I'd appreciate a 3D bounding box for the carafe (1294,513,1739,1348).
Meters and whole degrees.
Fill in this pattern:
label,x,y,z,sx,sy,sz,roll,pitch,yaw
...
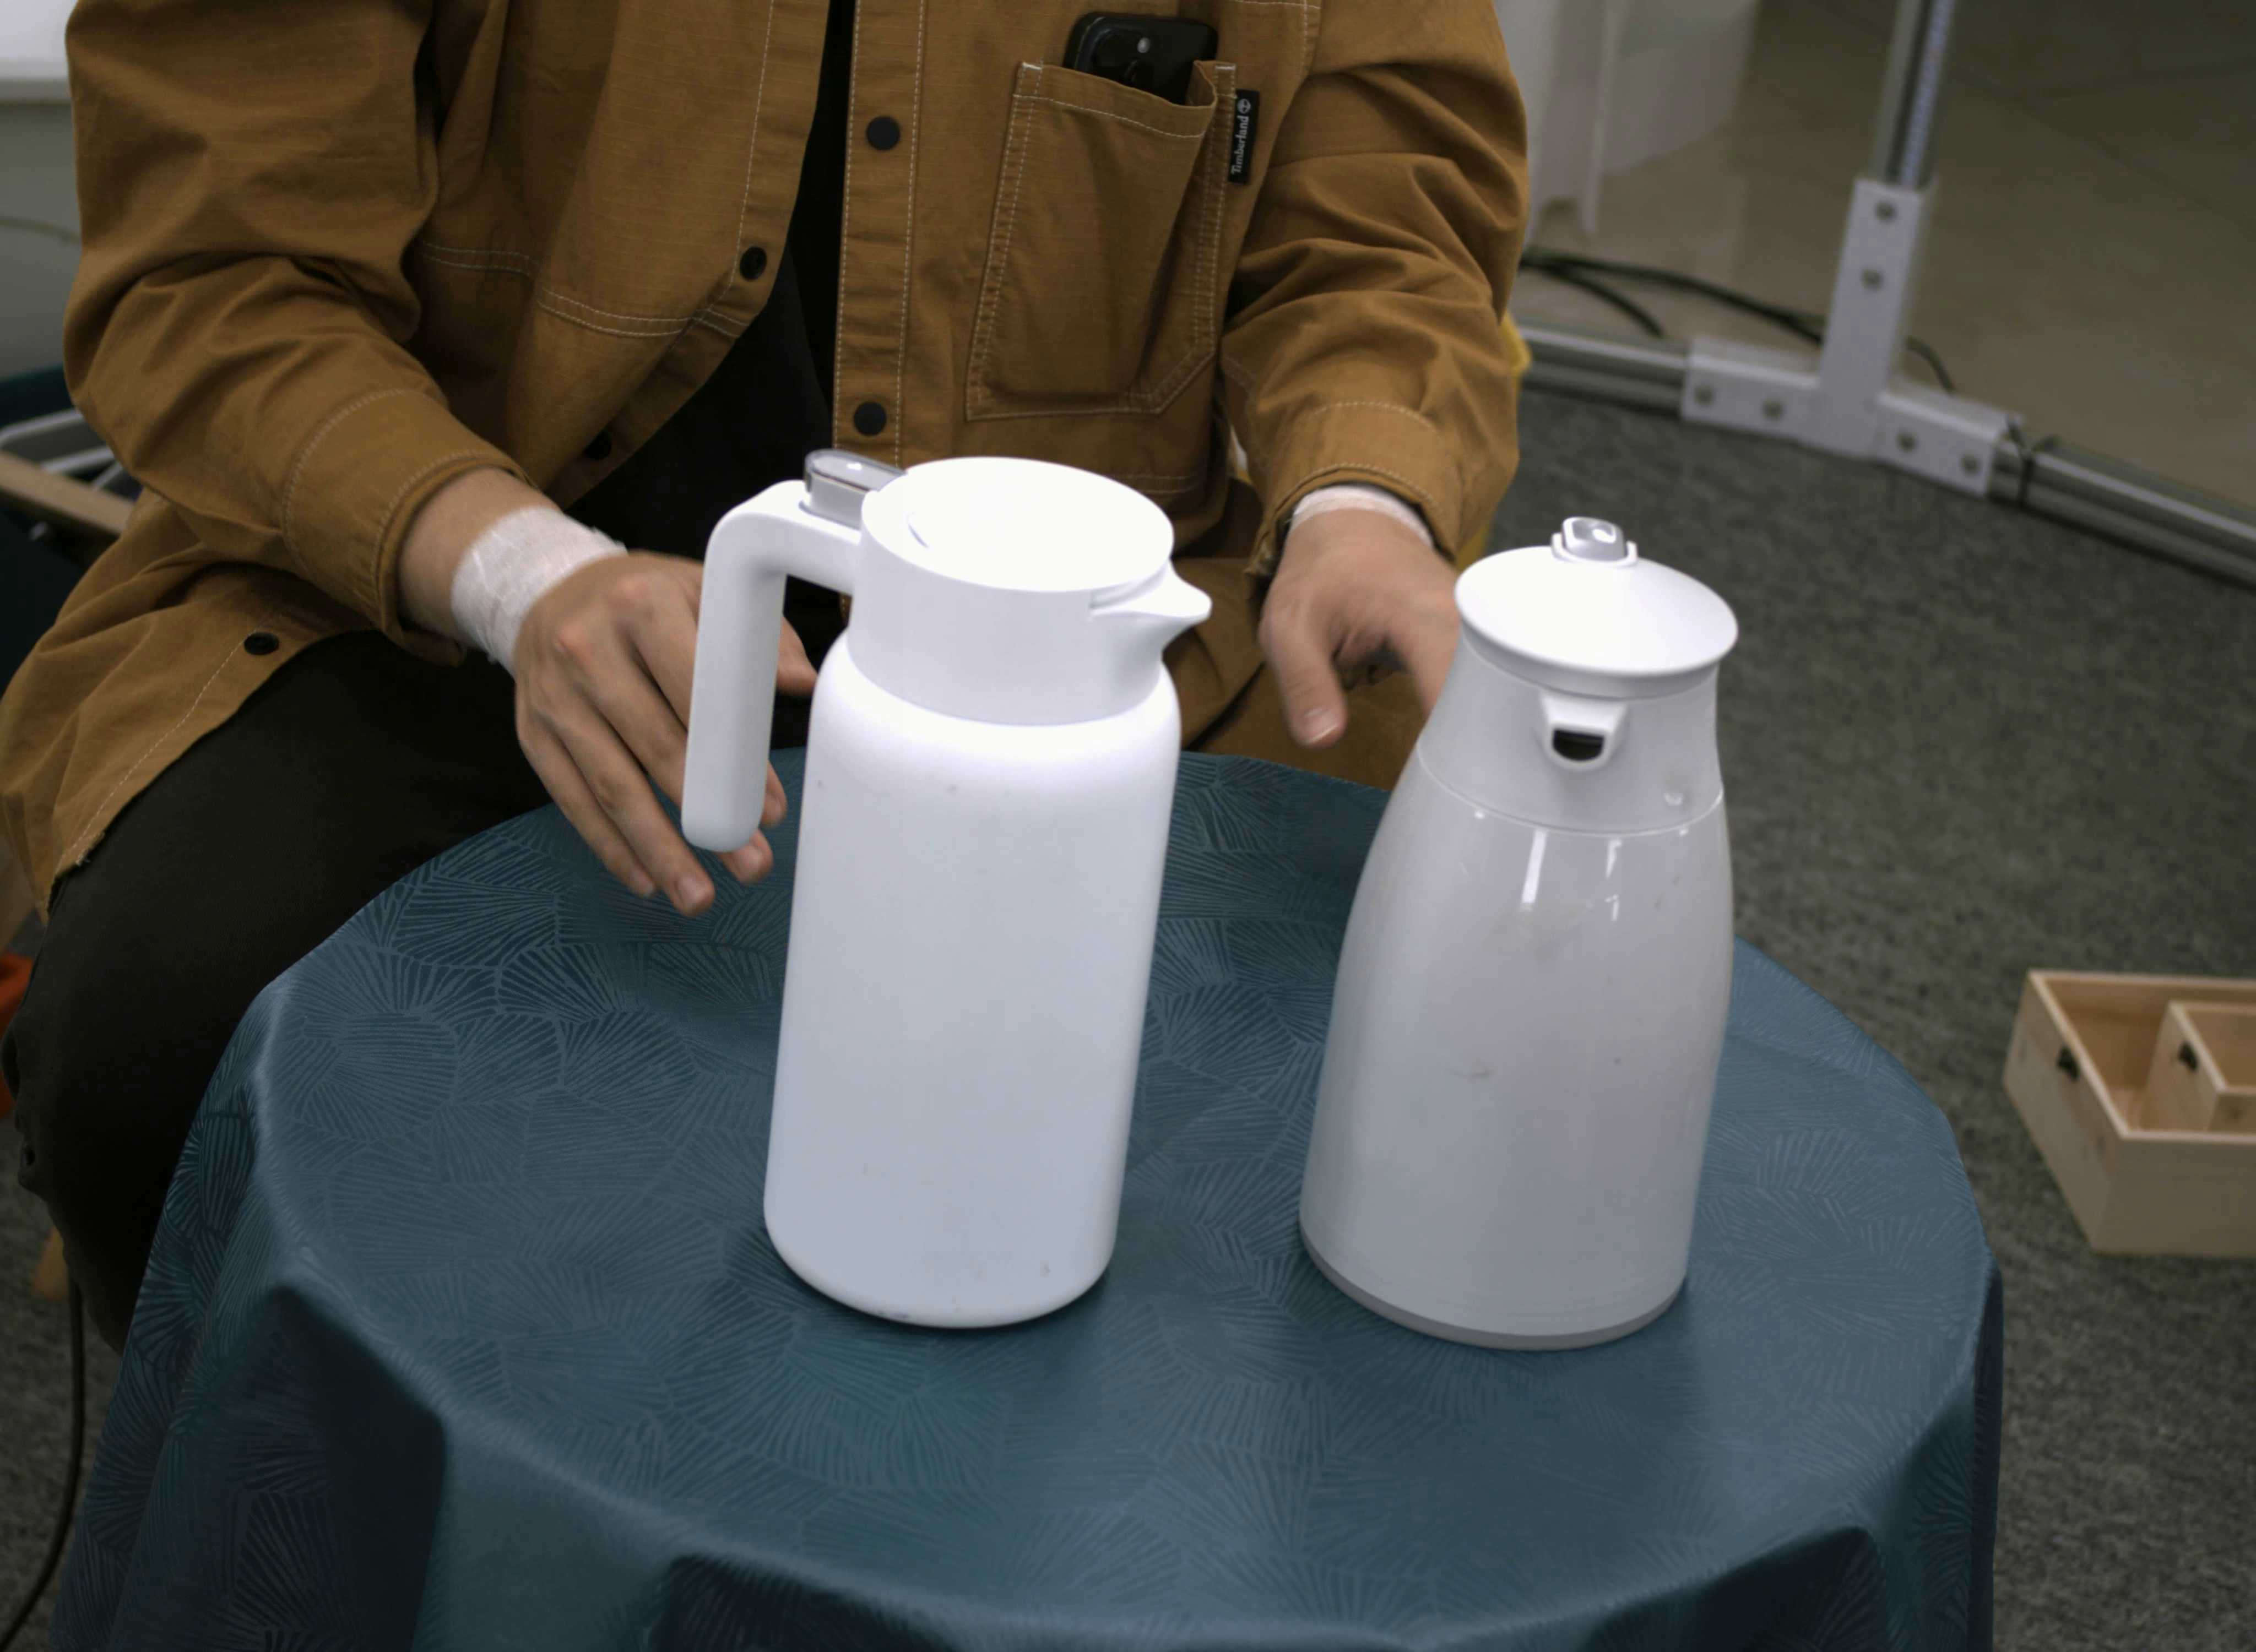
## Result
label,x,y,z,sx,sy,sz,roll,pitch,yaw
carafe,0.136,0.023,1.760,0.132,0.248,0.168,8,26,3

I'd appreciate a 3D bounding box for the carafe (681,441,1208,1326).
label,x,y,z,sx,sy,sz,roll,pitch,yaw
carafe,-0.065,0.016,1.708,0.173,0.268,0.124,18,31,22
